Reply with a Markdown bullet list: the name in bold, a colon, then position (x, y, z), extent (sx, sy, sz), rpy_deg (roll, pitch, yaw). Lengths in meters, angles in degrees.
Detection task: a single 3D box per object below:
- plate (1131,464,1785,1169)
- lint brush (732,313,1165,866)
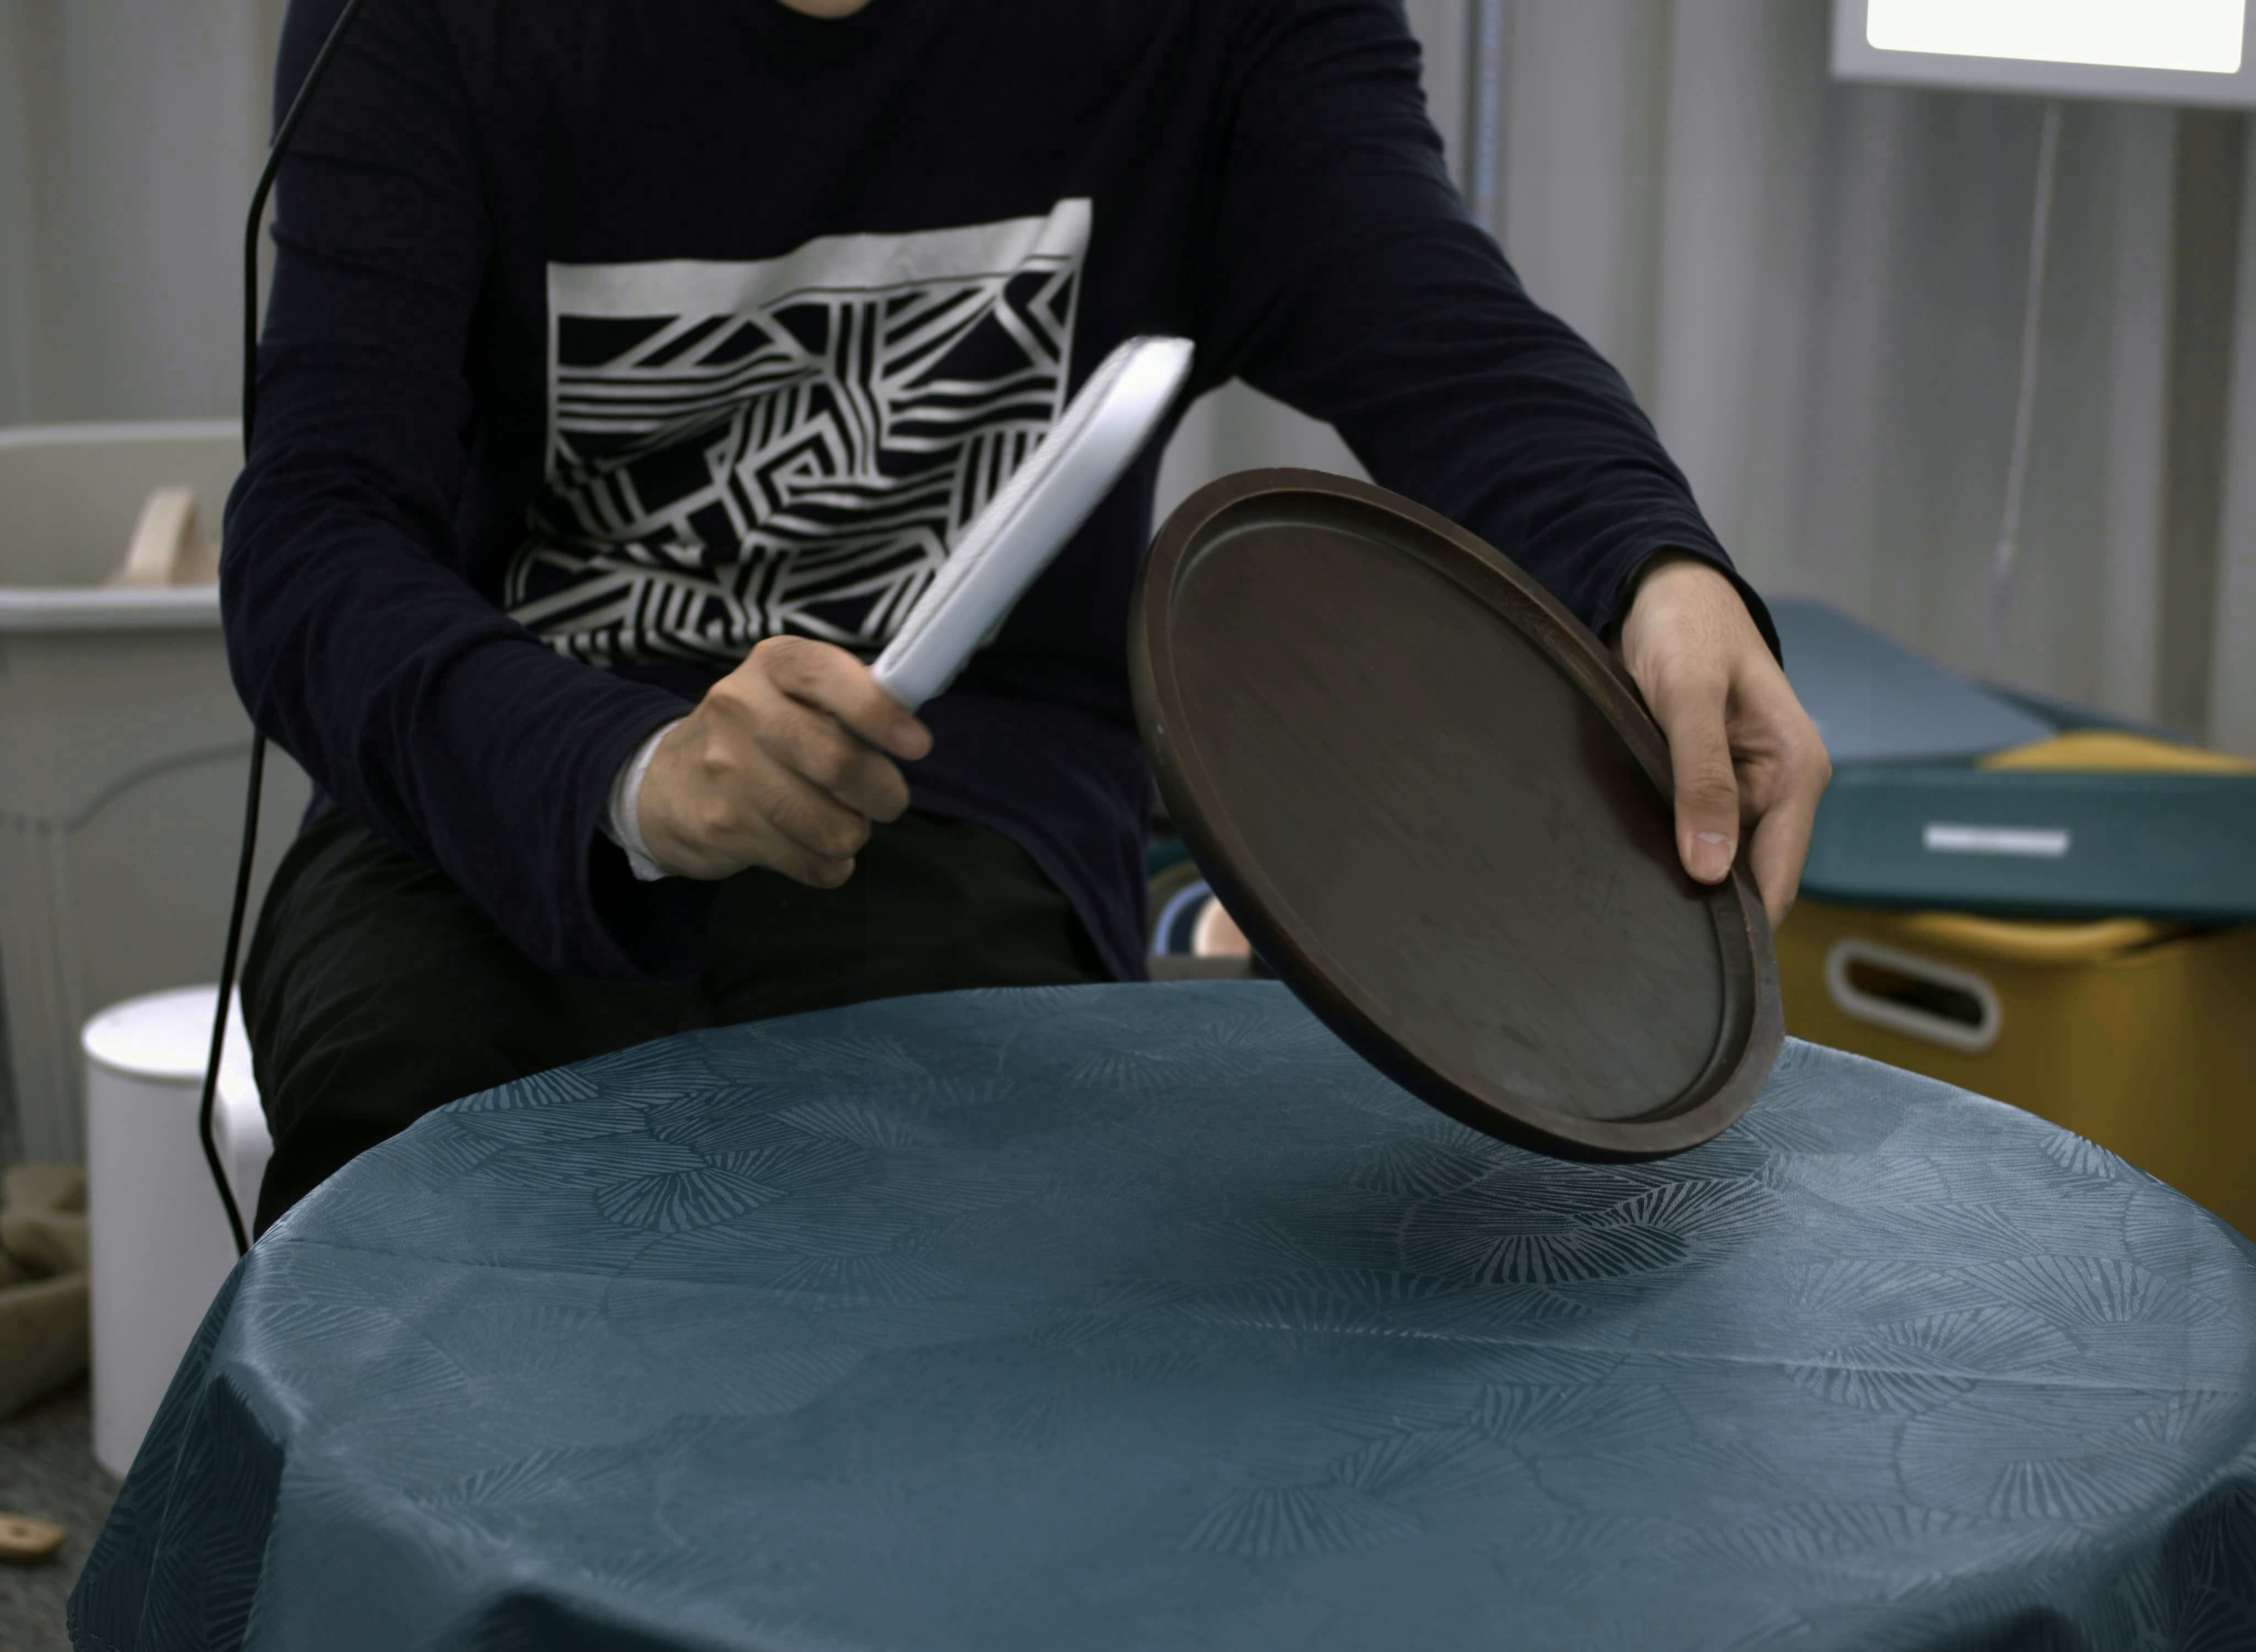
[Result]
- **plate**: position (0.100, -0.004, 1.597), extent (0.029, 0.254, 0.255), rpy_deg (-40, -9, 34)
- **lint brush**: position (-0.061, -0.066, 1.640), extent (0.021, 0.309, 0.060), rpy_deg (29, 53, -10)
